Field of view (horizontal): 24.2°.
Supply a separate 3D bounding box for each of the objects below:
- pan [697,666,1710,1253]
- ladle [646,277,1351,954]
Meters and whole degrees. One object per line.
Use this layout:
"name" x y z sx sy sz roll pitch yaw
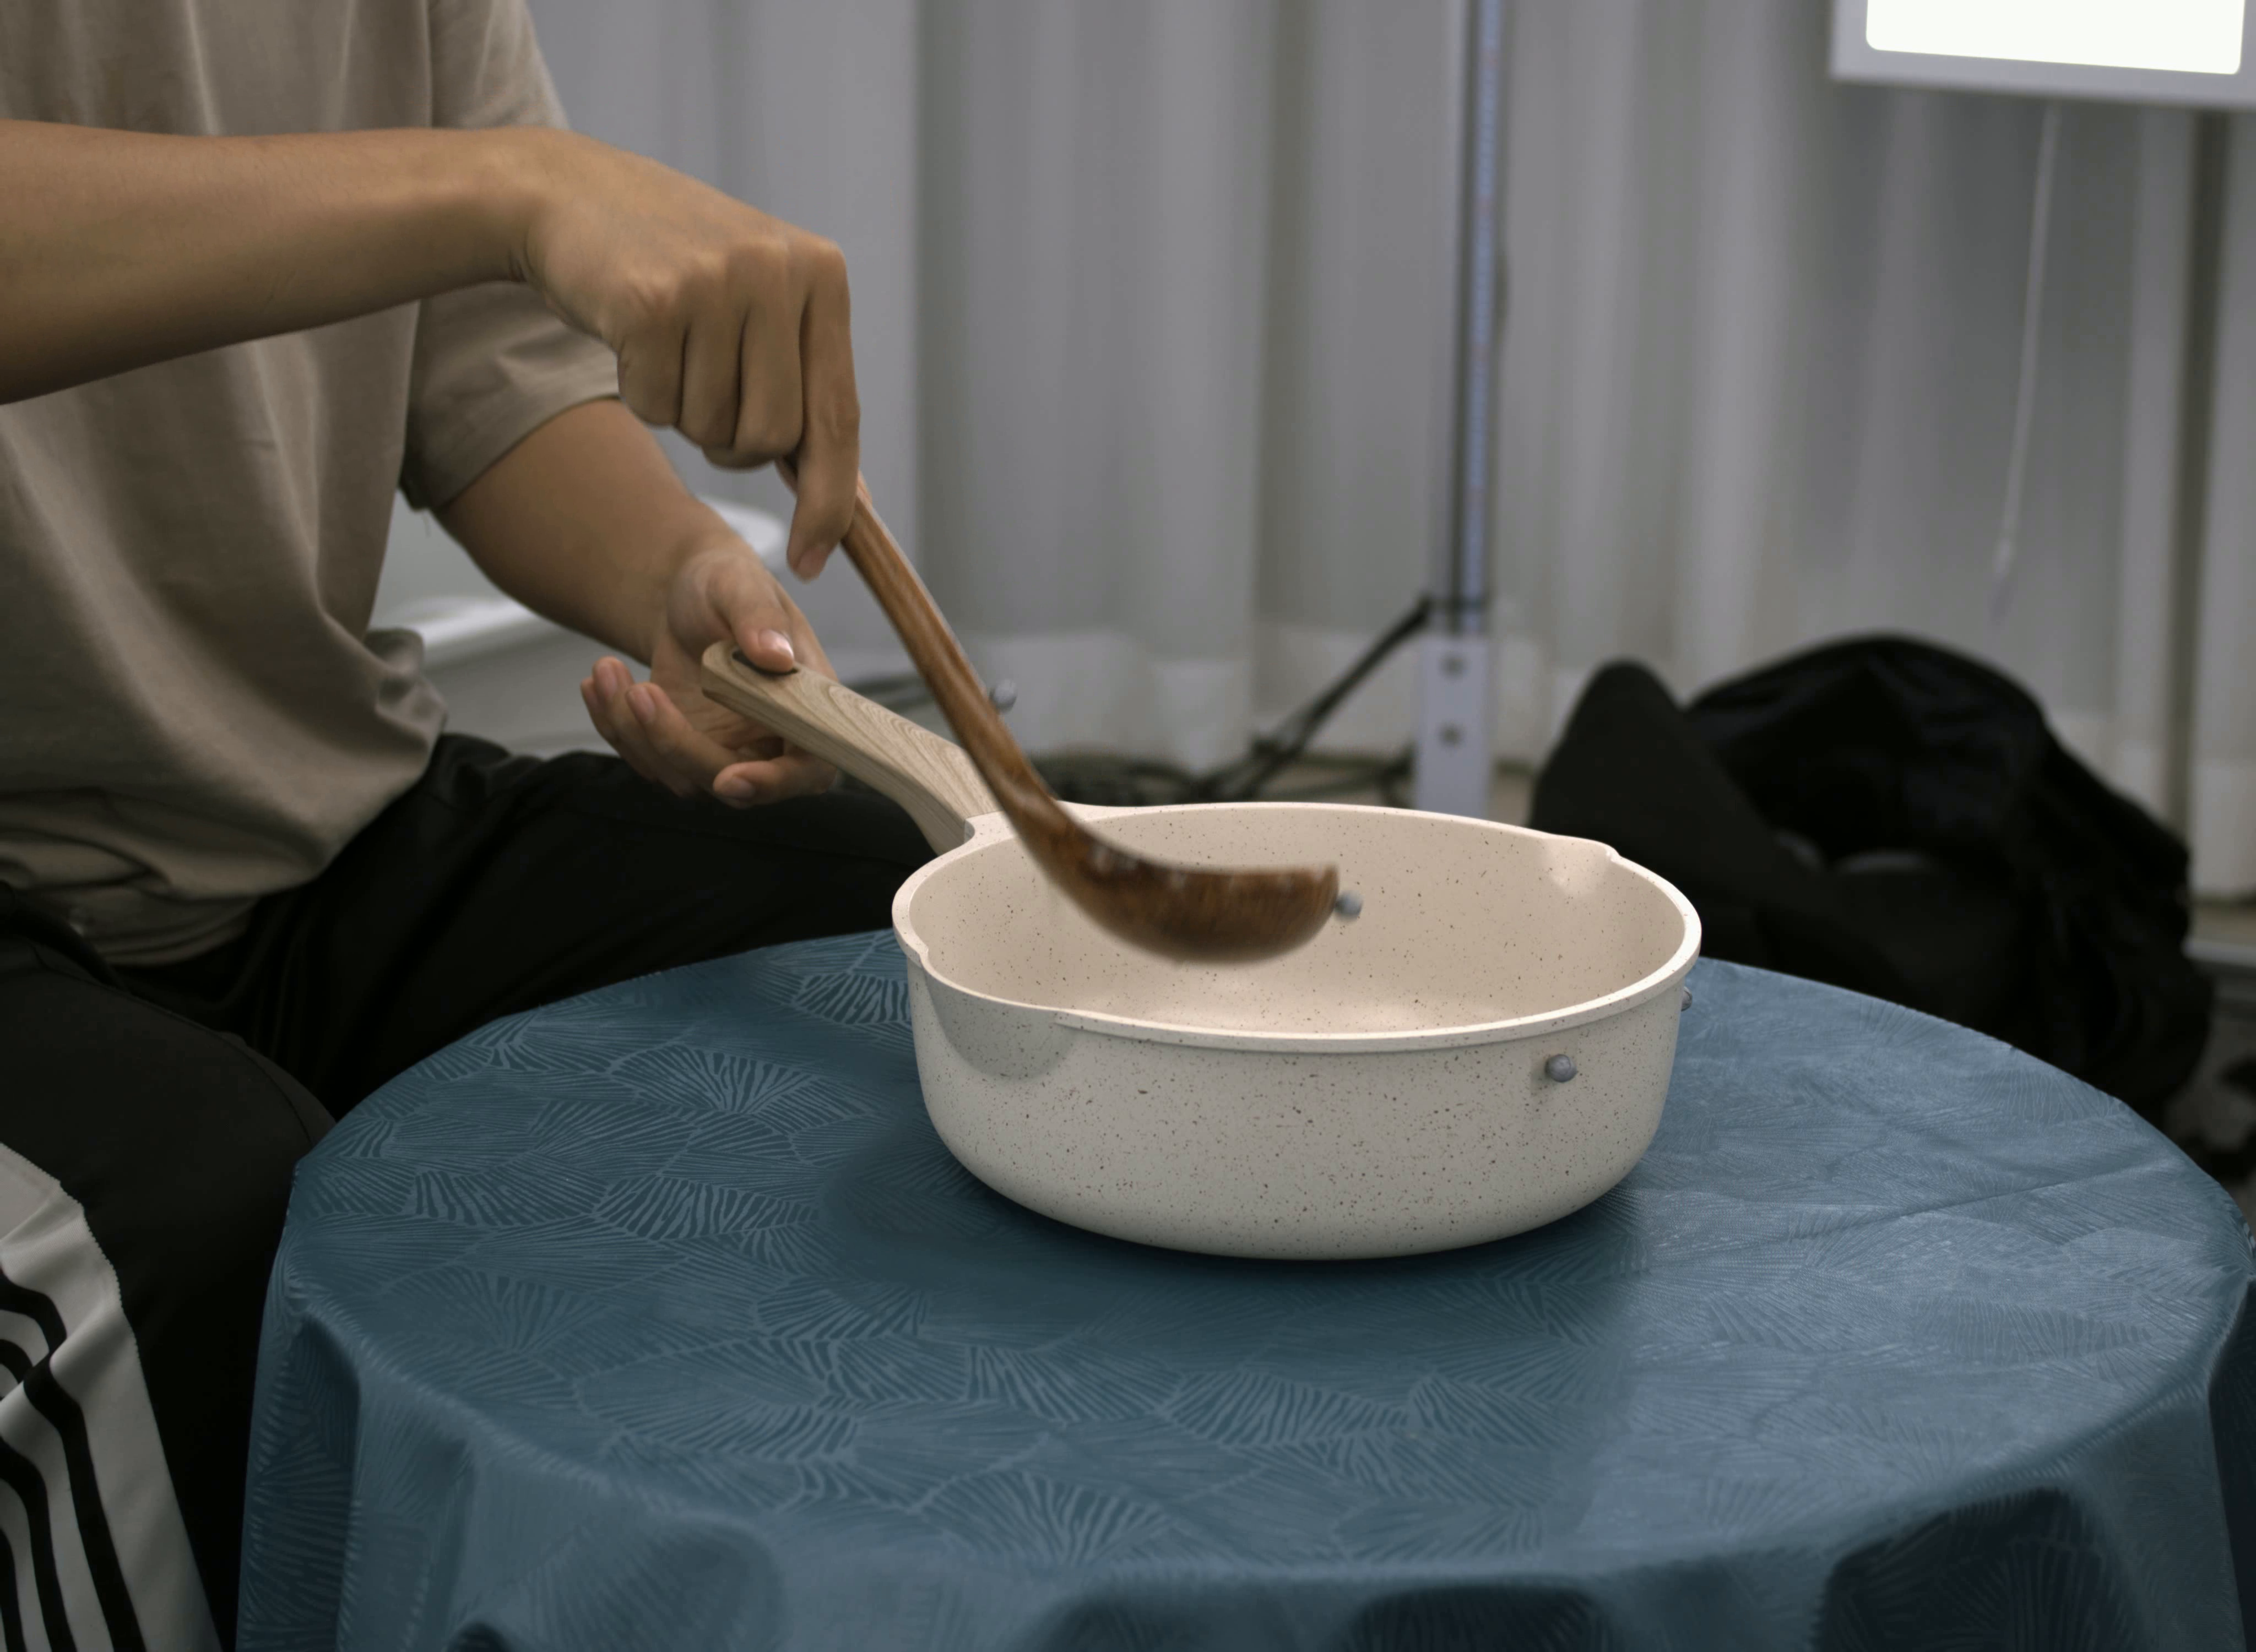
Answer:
"pan" -0.003 0.037 1.712 0.264 0.103 0.429 -14 21 -38
"ladle" -0.036 -0.071 1.587 0.076 0.274 0.082 -36 1 -10
